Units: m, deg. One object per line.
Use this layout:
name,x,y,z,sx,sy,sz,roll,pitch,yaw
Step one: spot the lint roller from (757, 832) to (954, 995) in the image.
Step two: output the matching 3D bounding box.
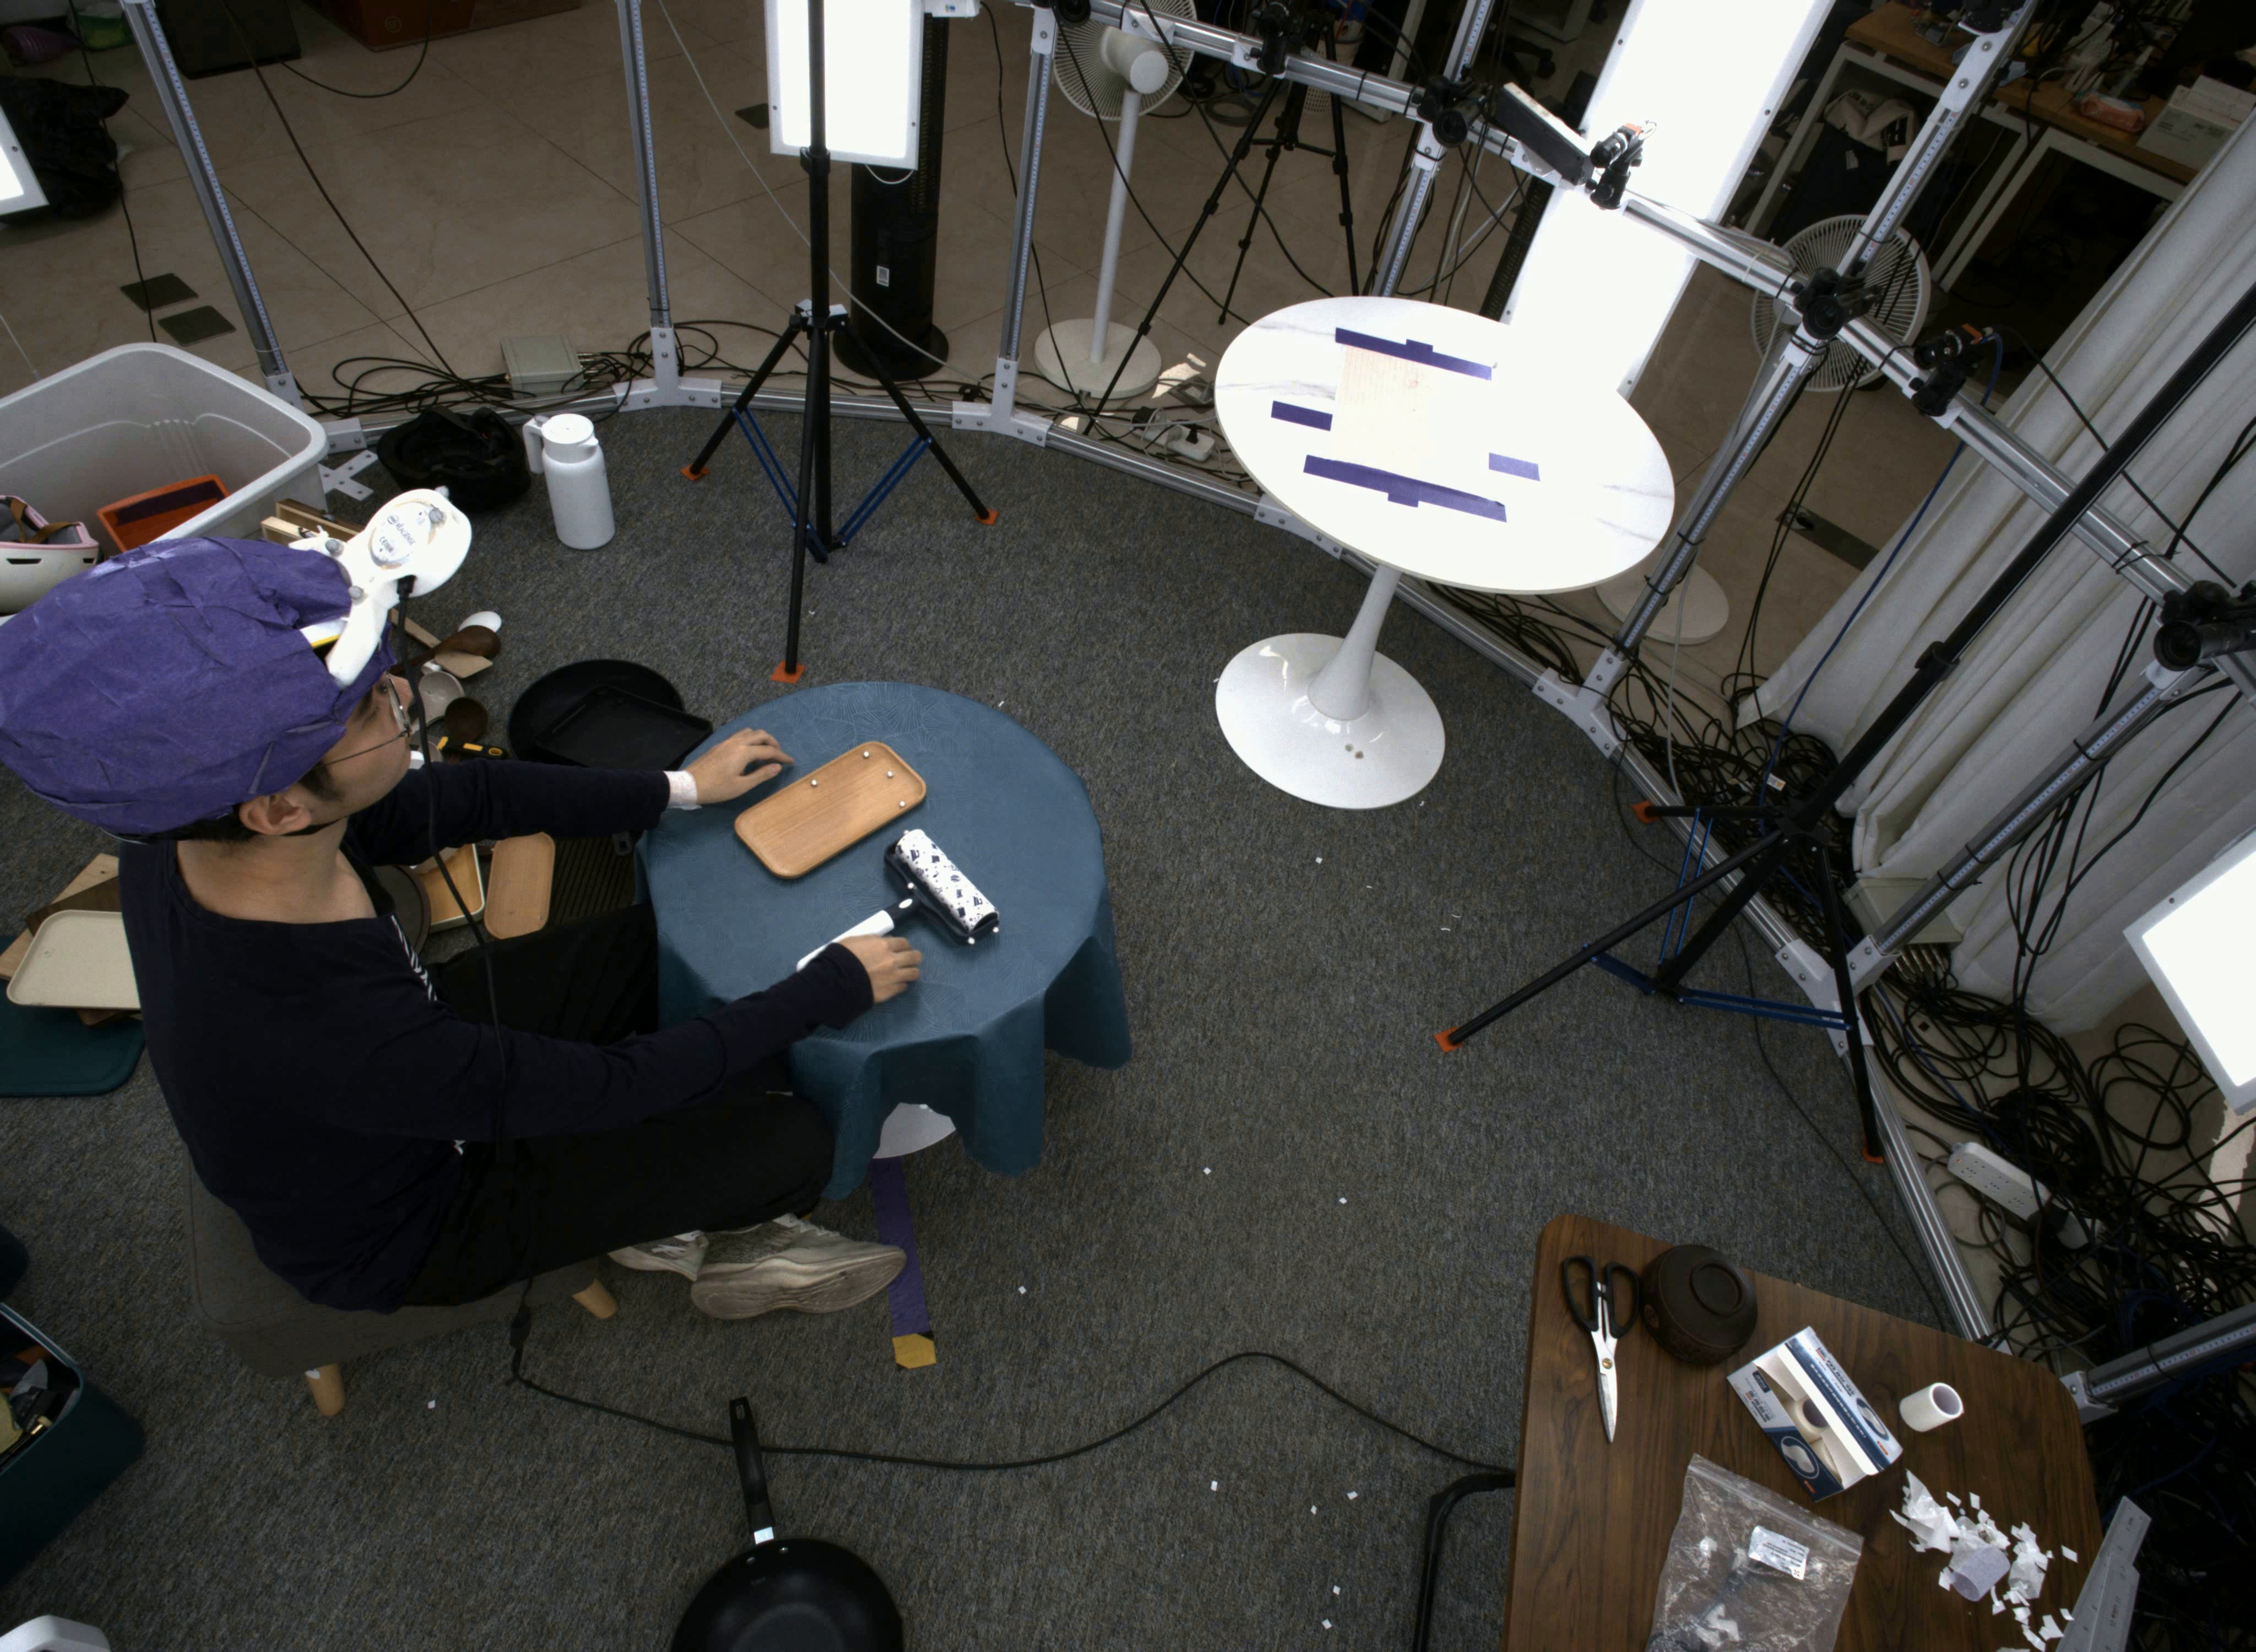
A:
lint roller,-0.361,0.127,1.631,0.172,0.051,0.247,42,58,17

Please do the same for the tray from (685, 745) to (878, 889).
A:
tray,-0.459,-0.015,1.727,0.127,0.023,0.251,40,56,19
